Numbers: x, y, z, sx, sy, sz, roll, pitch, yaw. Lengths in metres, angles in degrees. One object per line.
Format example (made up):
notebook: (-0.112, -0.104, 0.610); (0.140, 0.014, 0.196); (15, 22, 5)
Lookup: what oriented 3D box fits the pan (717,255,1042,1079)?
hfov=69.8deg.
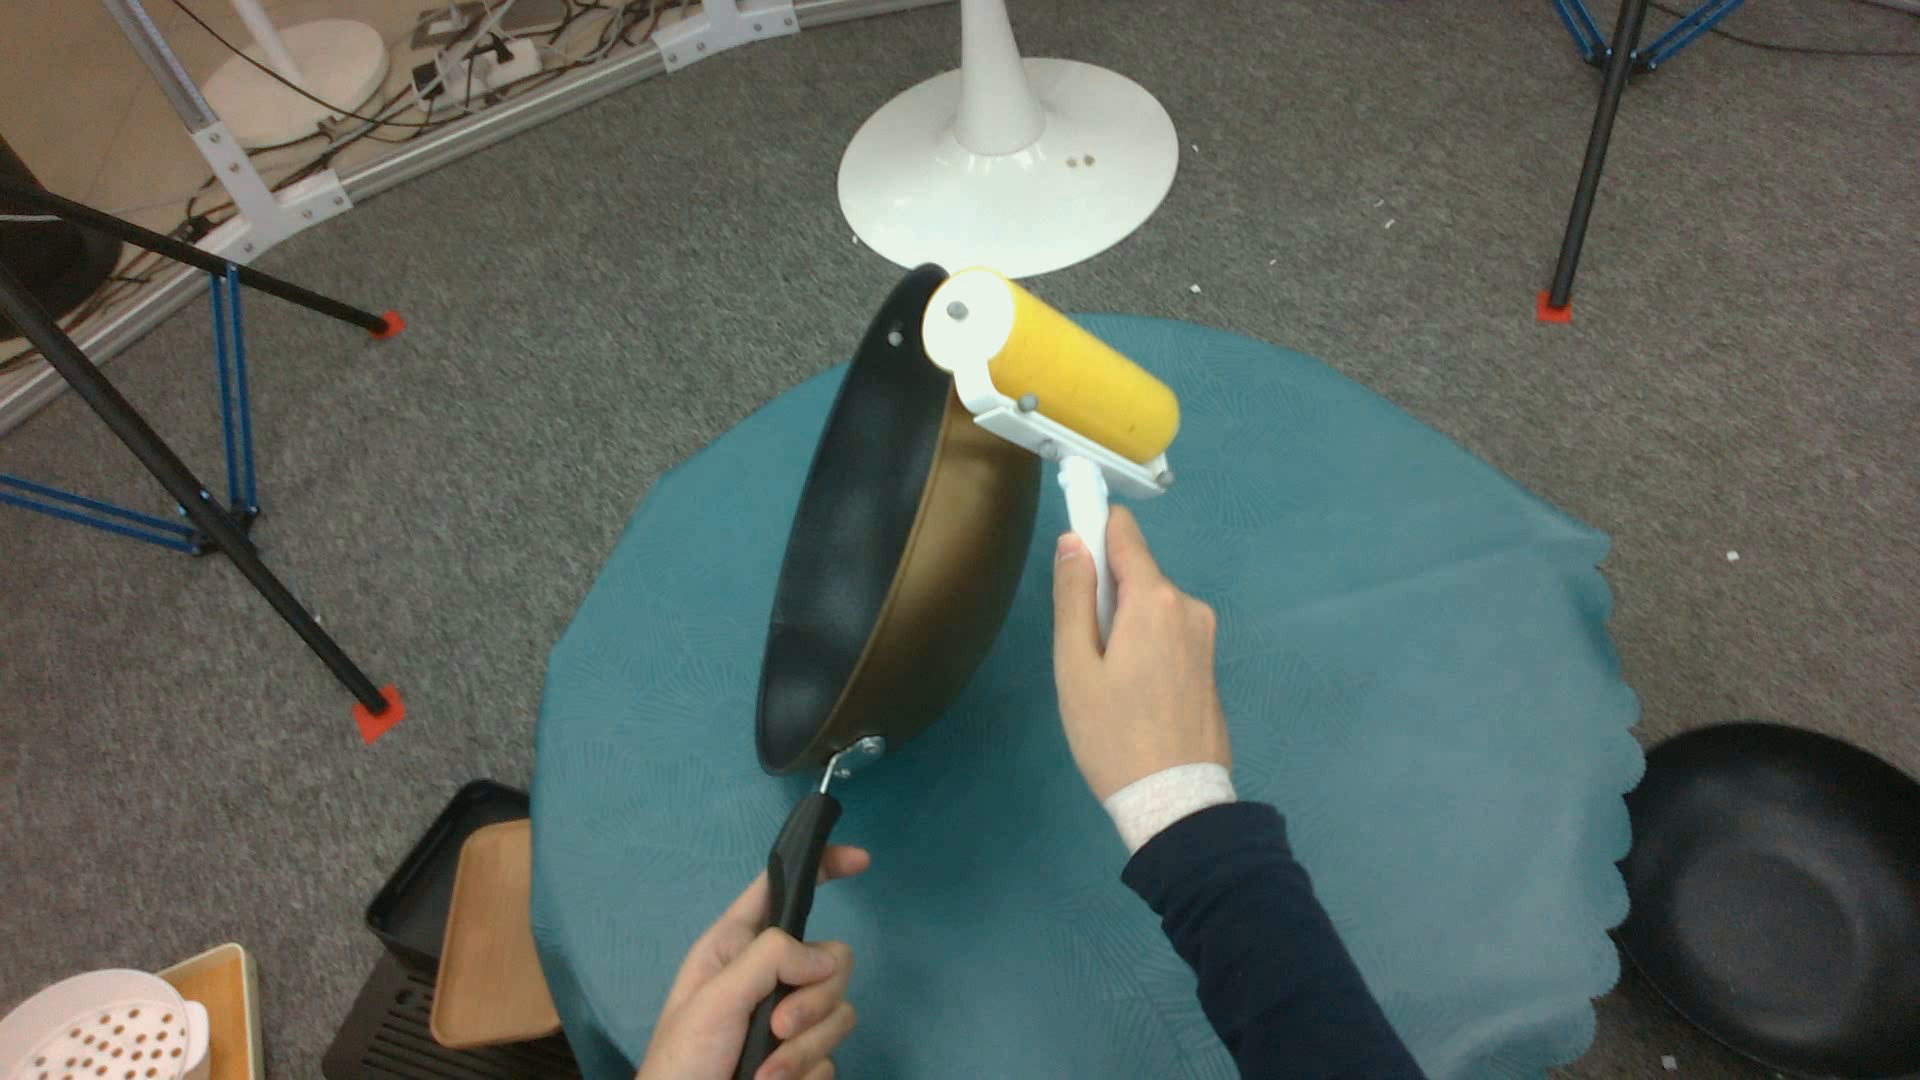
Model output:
pan: (-0.039, 0.072, 0.688); (0.087, 0.286, 0.465); (18, 57, -17)

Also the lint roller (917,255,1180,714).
lint roller: (0.065, -0.020, 0.617); (0.051, 0.174, 0.192); (-30, 64, 27)
